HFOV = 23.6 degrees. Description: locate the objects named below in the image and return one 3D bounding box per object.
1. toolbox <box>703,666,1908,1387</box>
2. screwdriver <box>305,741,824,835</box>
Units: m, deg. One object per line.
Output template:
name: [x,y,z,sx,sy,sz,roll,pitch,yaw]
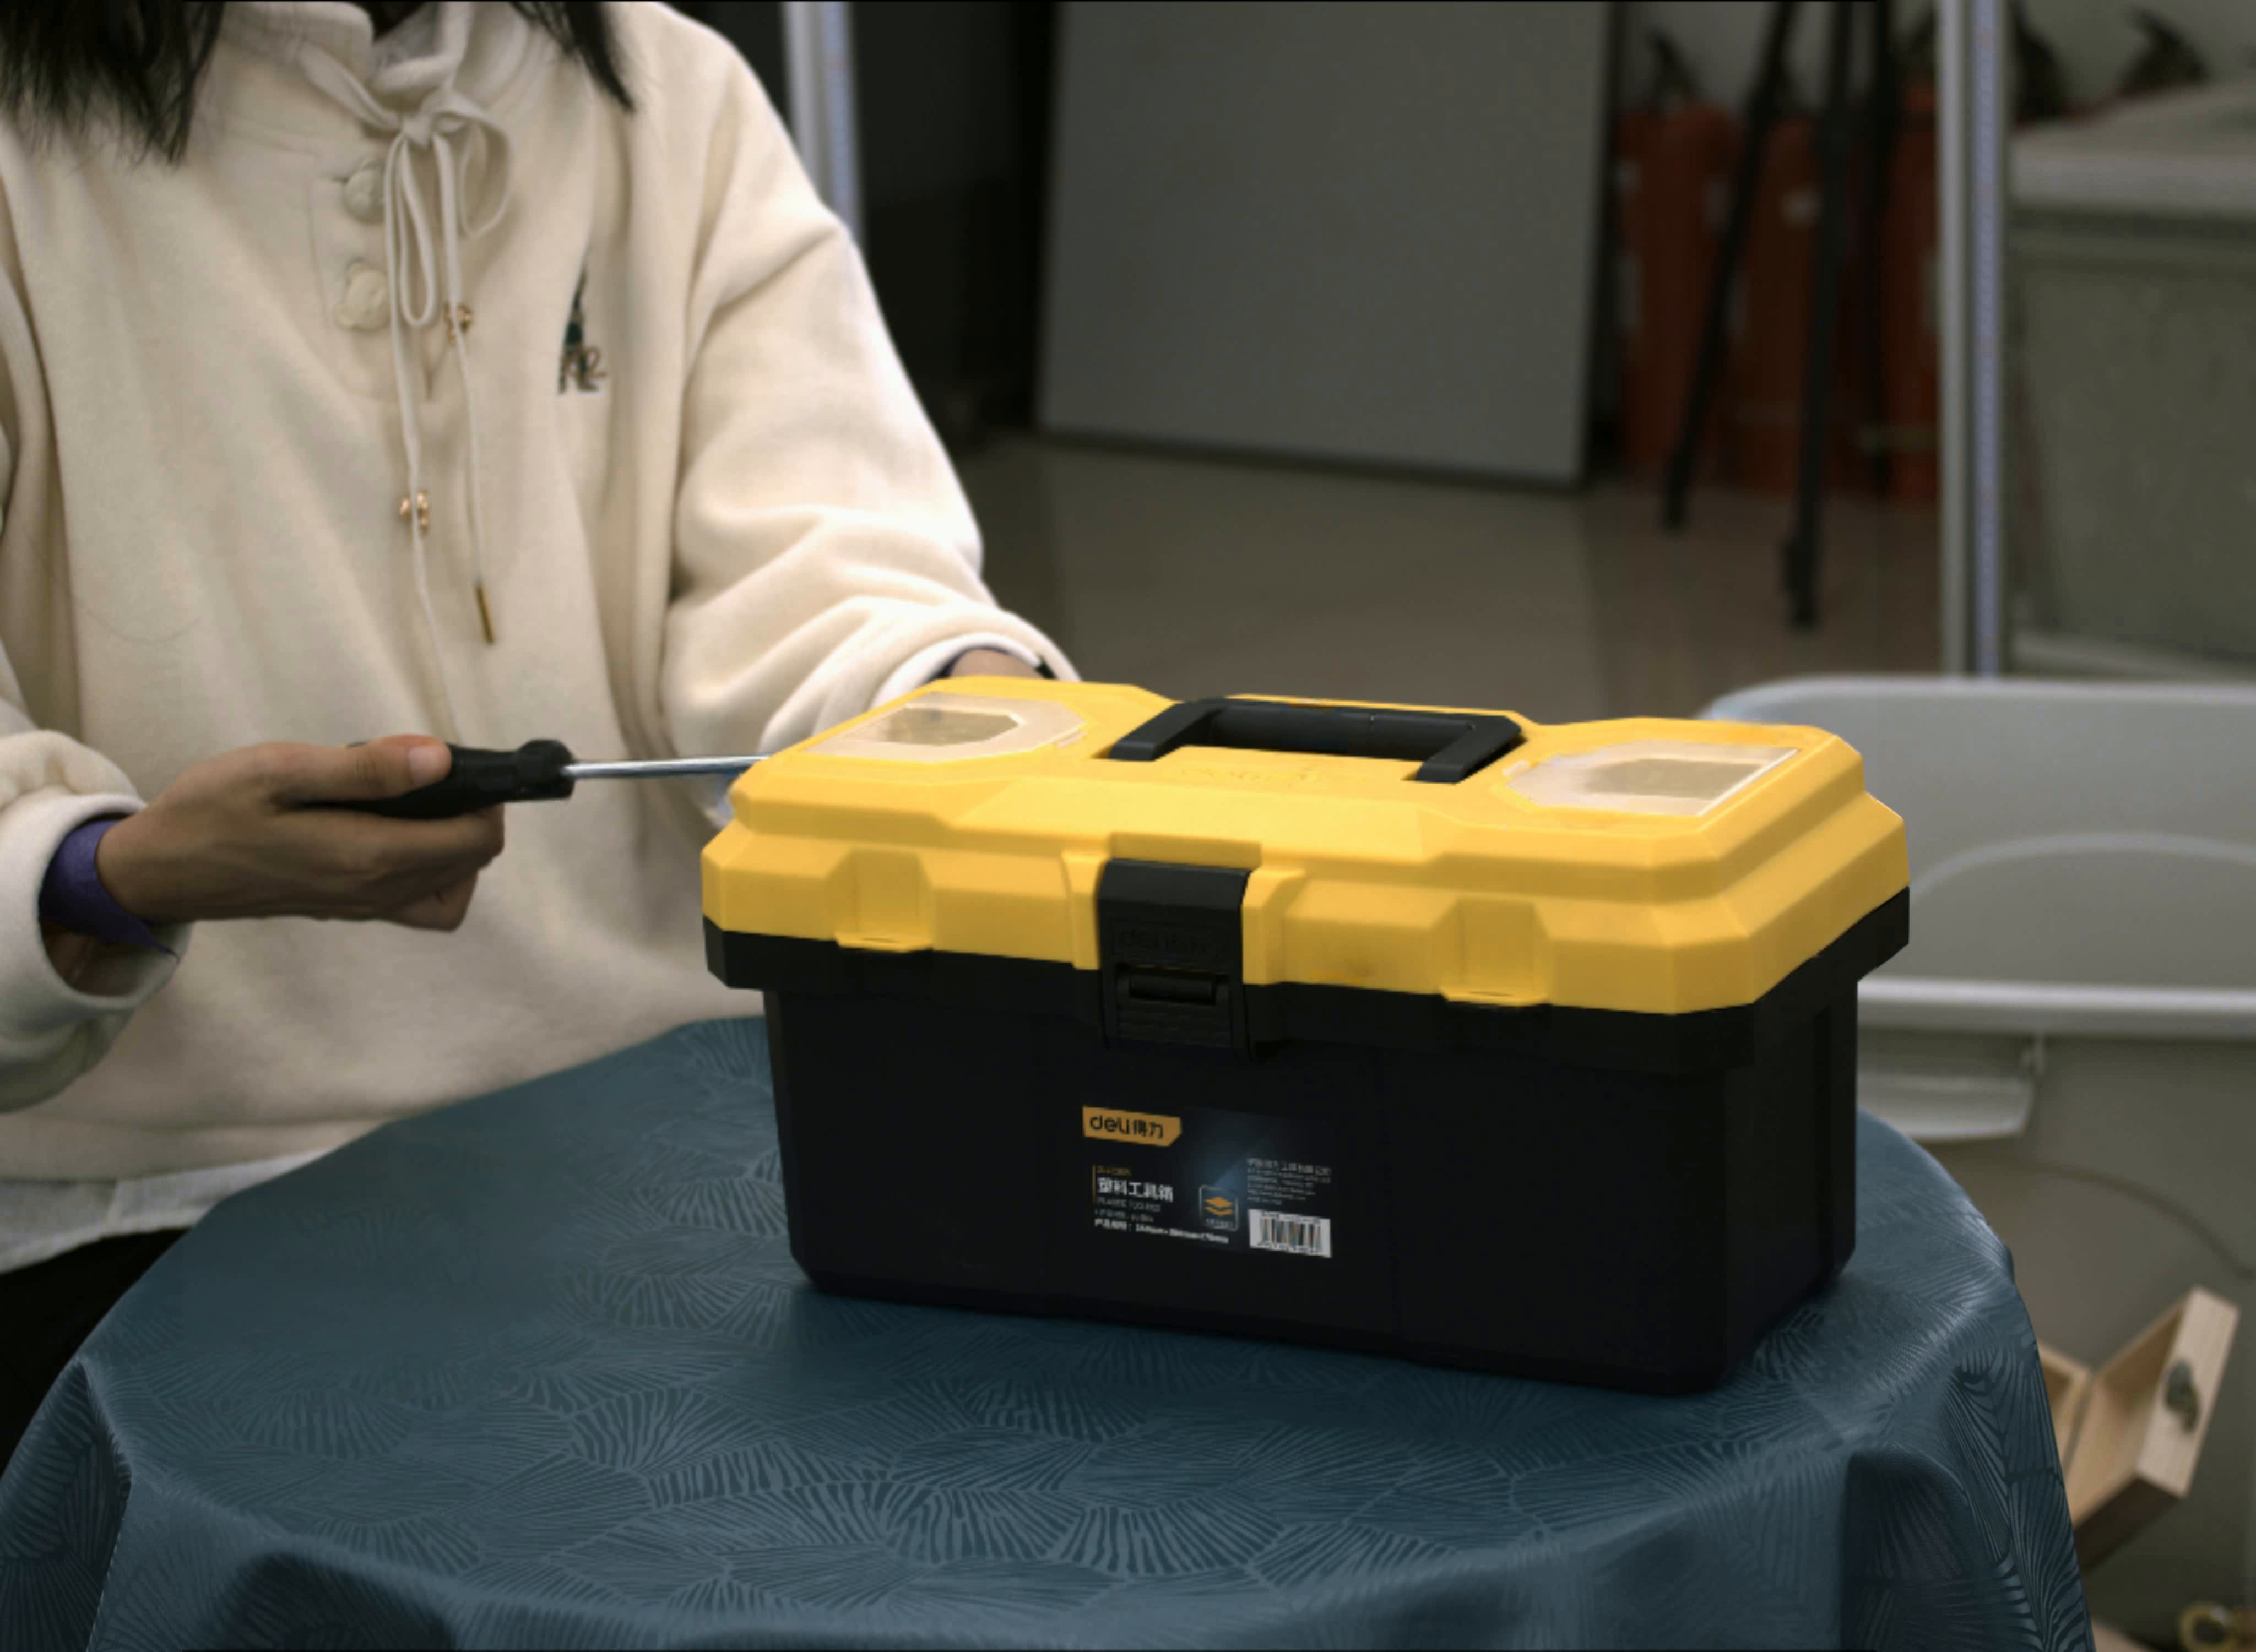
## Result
toolbox: [0.053,0.056,1.650,0.353,0.175,0.178,4,15,29]
screwdriver: [-0.181,-0.013,1.761,0.196,0.032,0.031,0,13,24]
